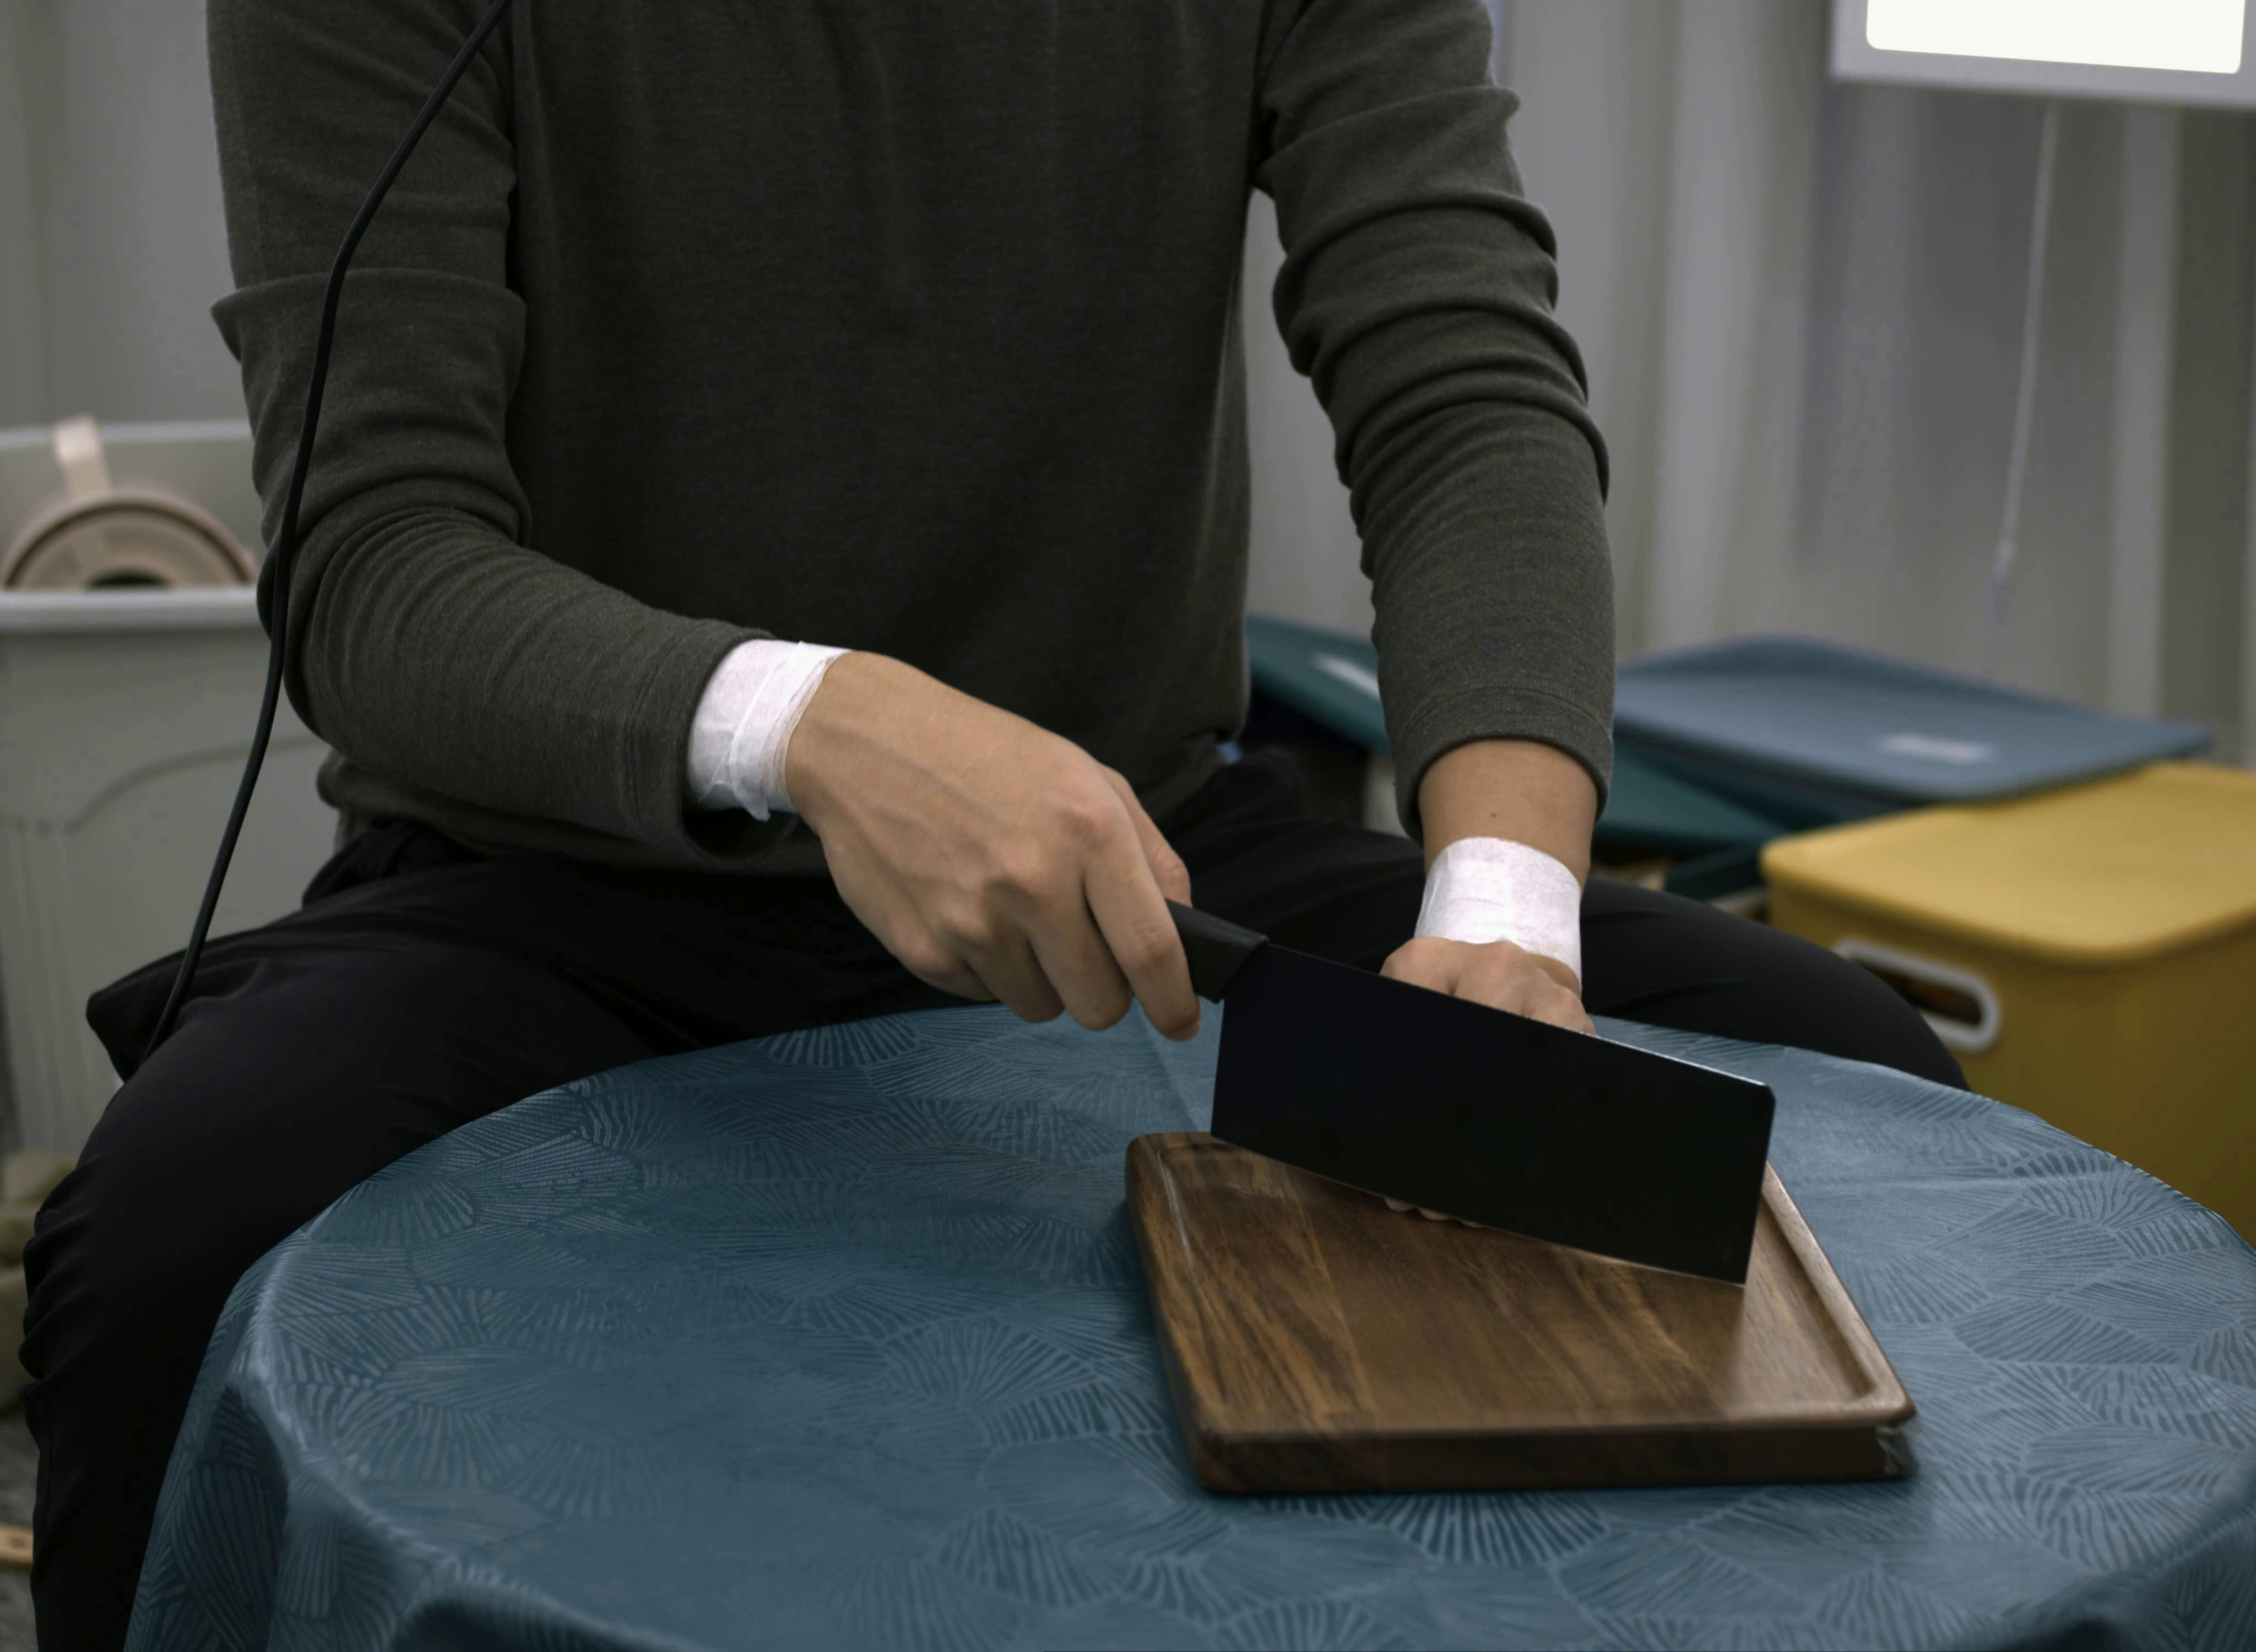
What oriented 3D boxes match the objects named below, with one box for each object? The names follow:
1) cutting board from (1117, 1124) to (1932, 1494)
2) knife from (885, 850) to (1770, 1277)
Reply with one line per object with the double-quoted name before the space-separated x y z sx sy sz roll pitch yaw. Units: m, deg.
"cutting board" 0.102 0.121 1.558 0.201 0.023 0.349 0 15 -5
"knife" 0.054 0.065 1.564 0.298 0.081 0.021 20 20 27
